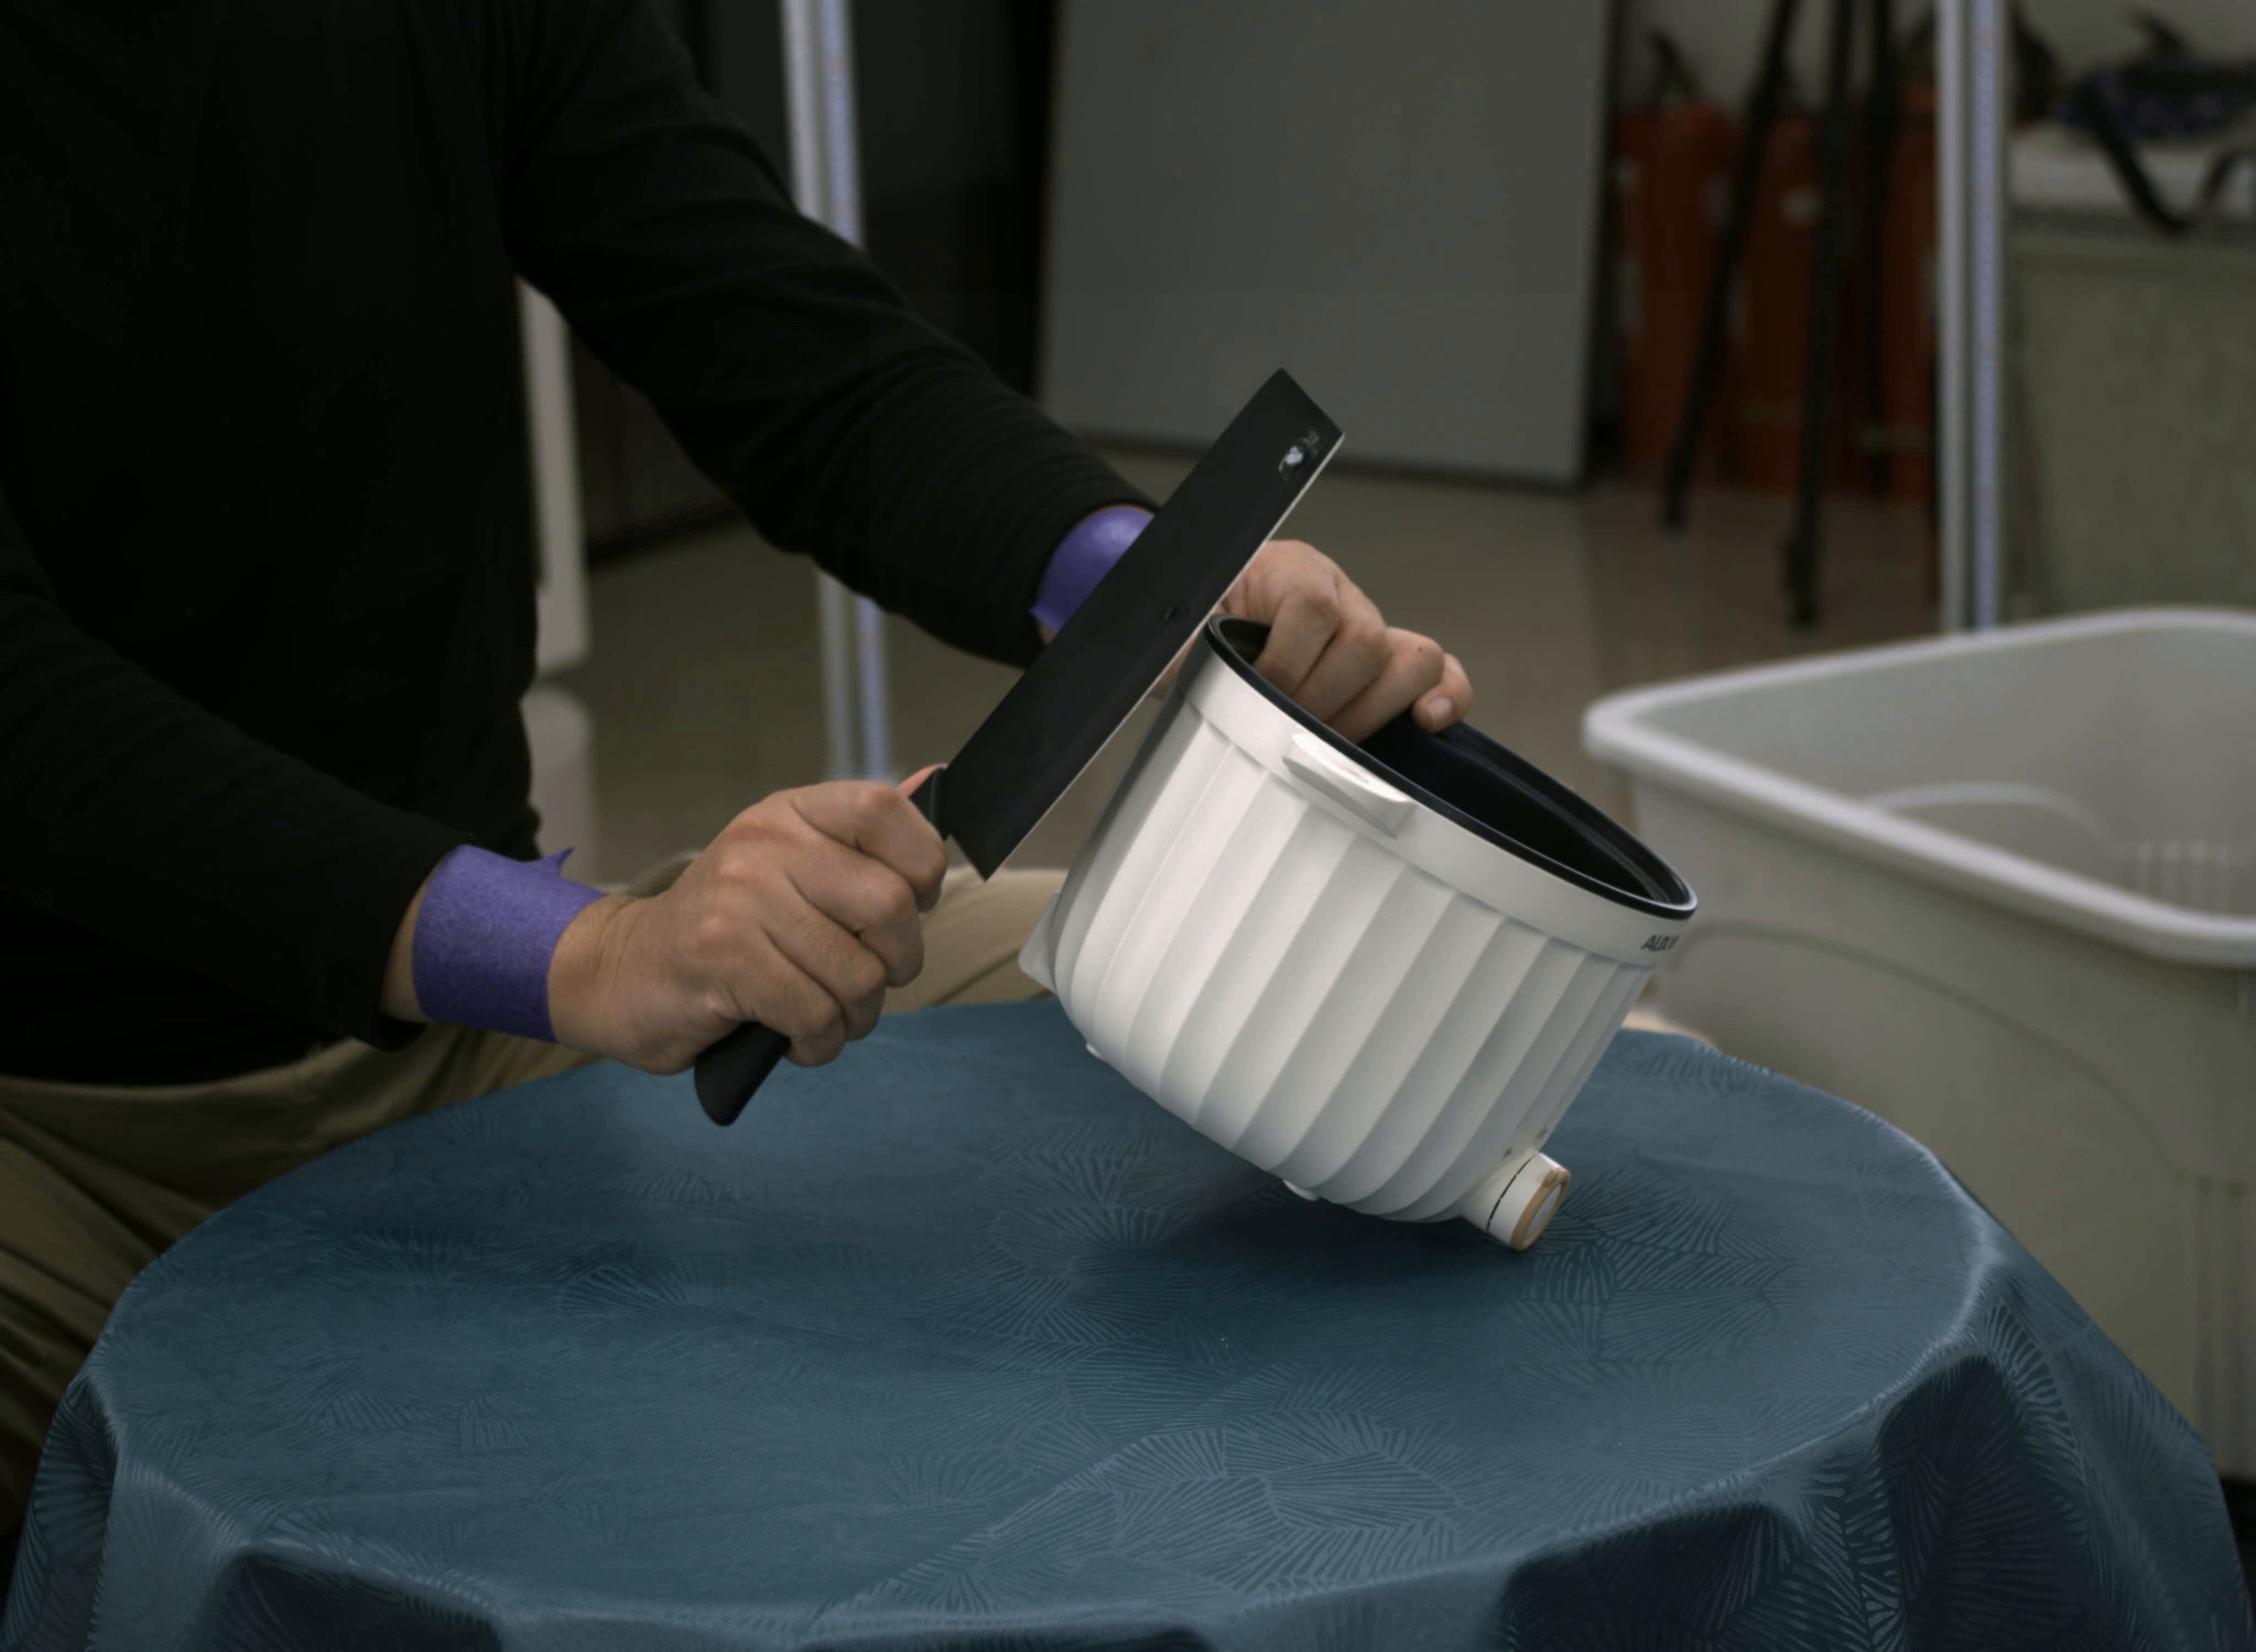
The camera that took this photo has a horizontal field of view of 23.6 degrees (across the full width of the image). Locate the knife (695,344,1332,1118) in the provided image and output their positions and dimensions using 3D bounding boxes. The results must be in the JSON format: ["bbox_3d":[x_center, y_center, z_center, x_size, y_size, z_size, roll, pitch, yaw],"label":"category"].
[{"bbox_3d":[-0.038,-0.026,1.704,0.020,0.304,0.082,34,15,-28],"label":"knife"}]

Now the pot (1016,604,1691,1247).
[{"bbox_3d":[0.074,0.036,1.710,0.191,0.144,0.237,30,11,18],"label":"pot"}]
